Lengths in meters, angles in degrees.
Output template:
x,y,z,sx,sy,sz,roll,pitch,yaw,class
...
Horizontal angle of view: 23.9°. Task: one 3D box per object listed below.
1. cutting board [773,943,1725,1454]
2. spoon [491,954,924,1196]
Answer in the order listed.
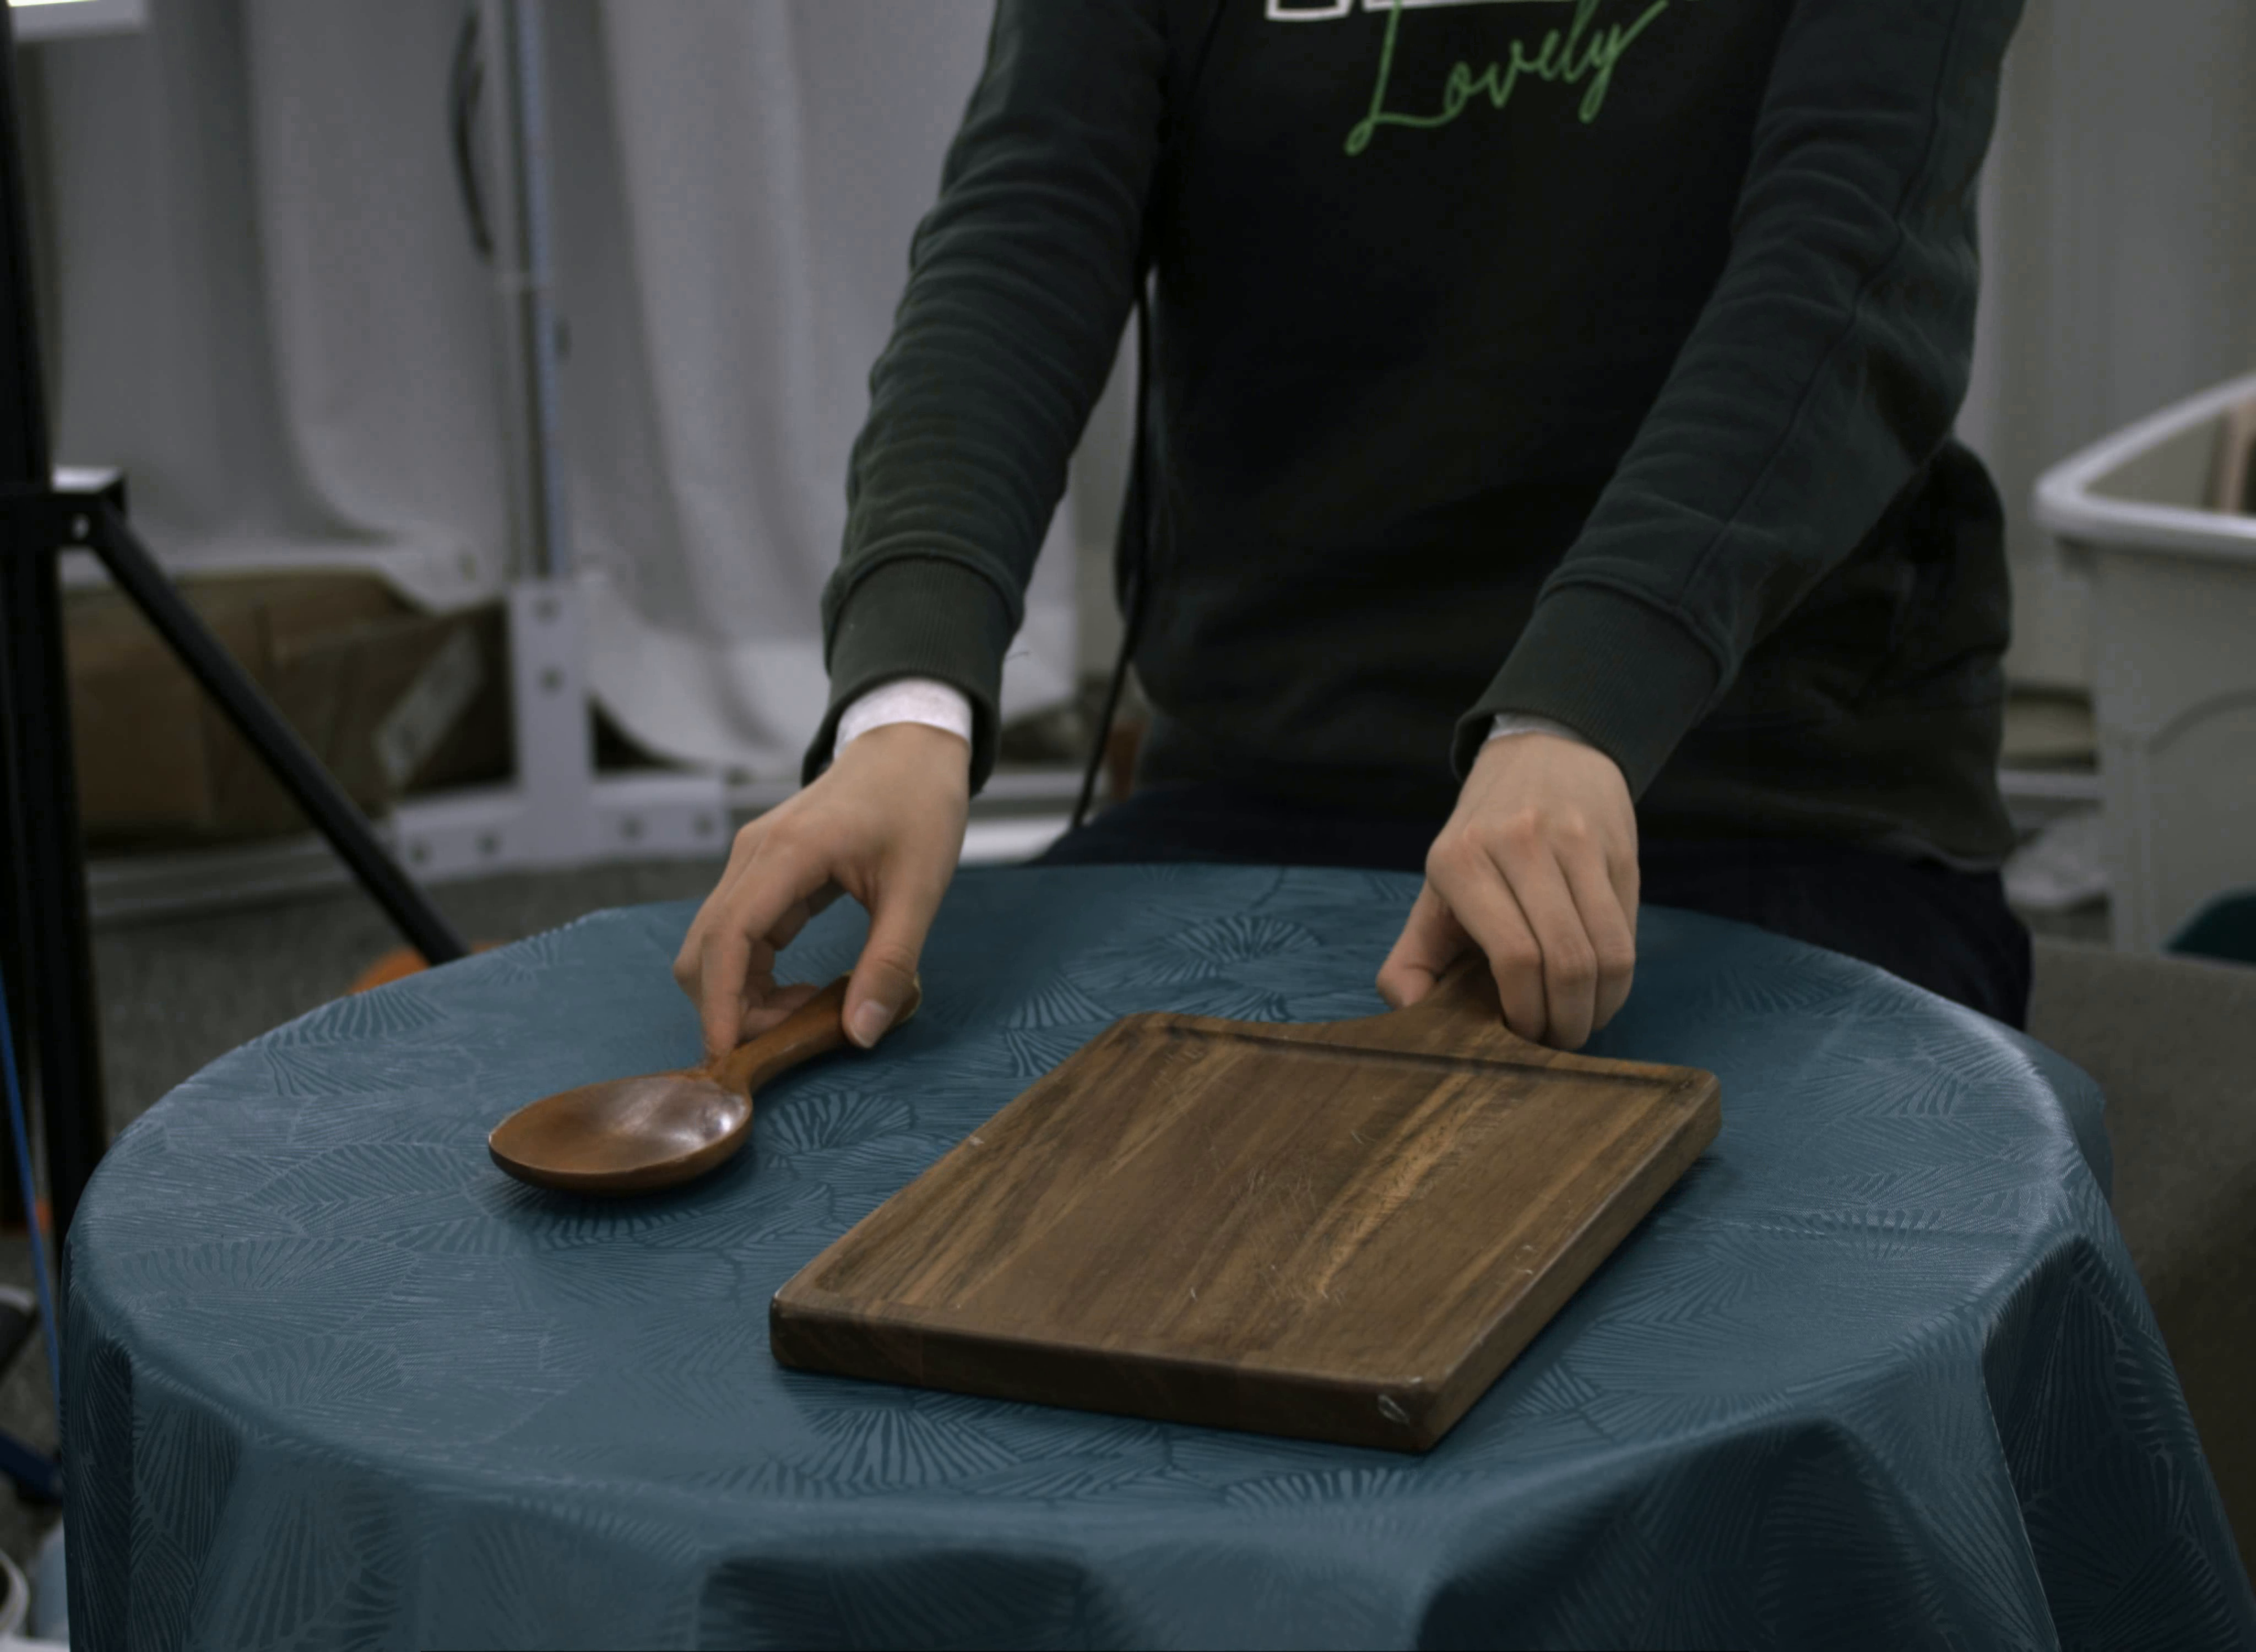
x,y,z,sx,sy,sz,roll,pitch,yaw,class
0.060,0.097,1.539,0.204,0.023,0.347,4,18,25,cutting board
-0.121,0.078,1.649,0.077,0.017,0.212,4,18,27,spoon
